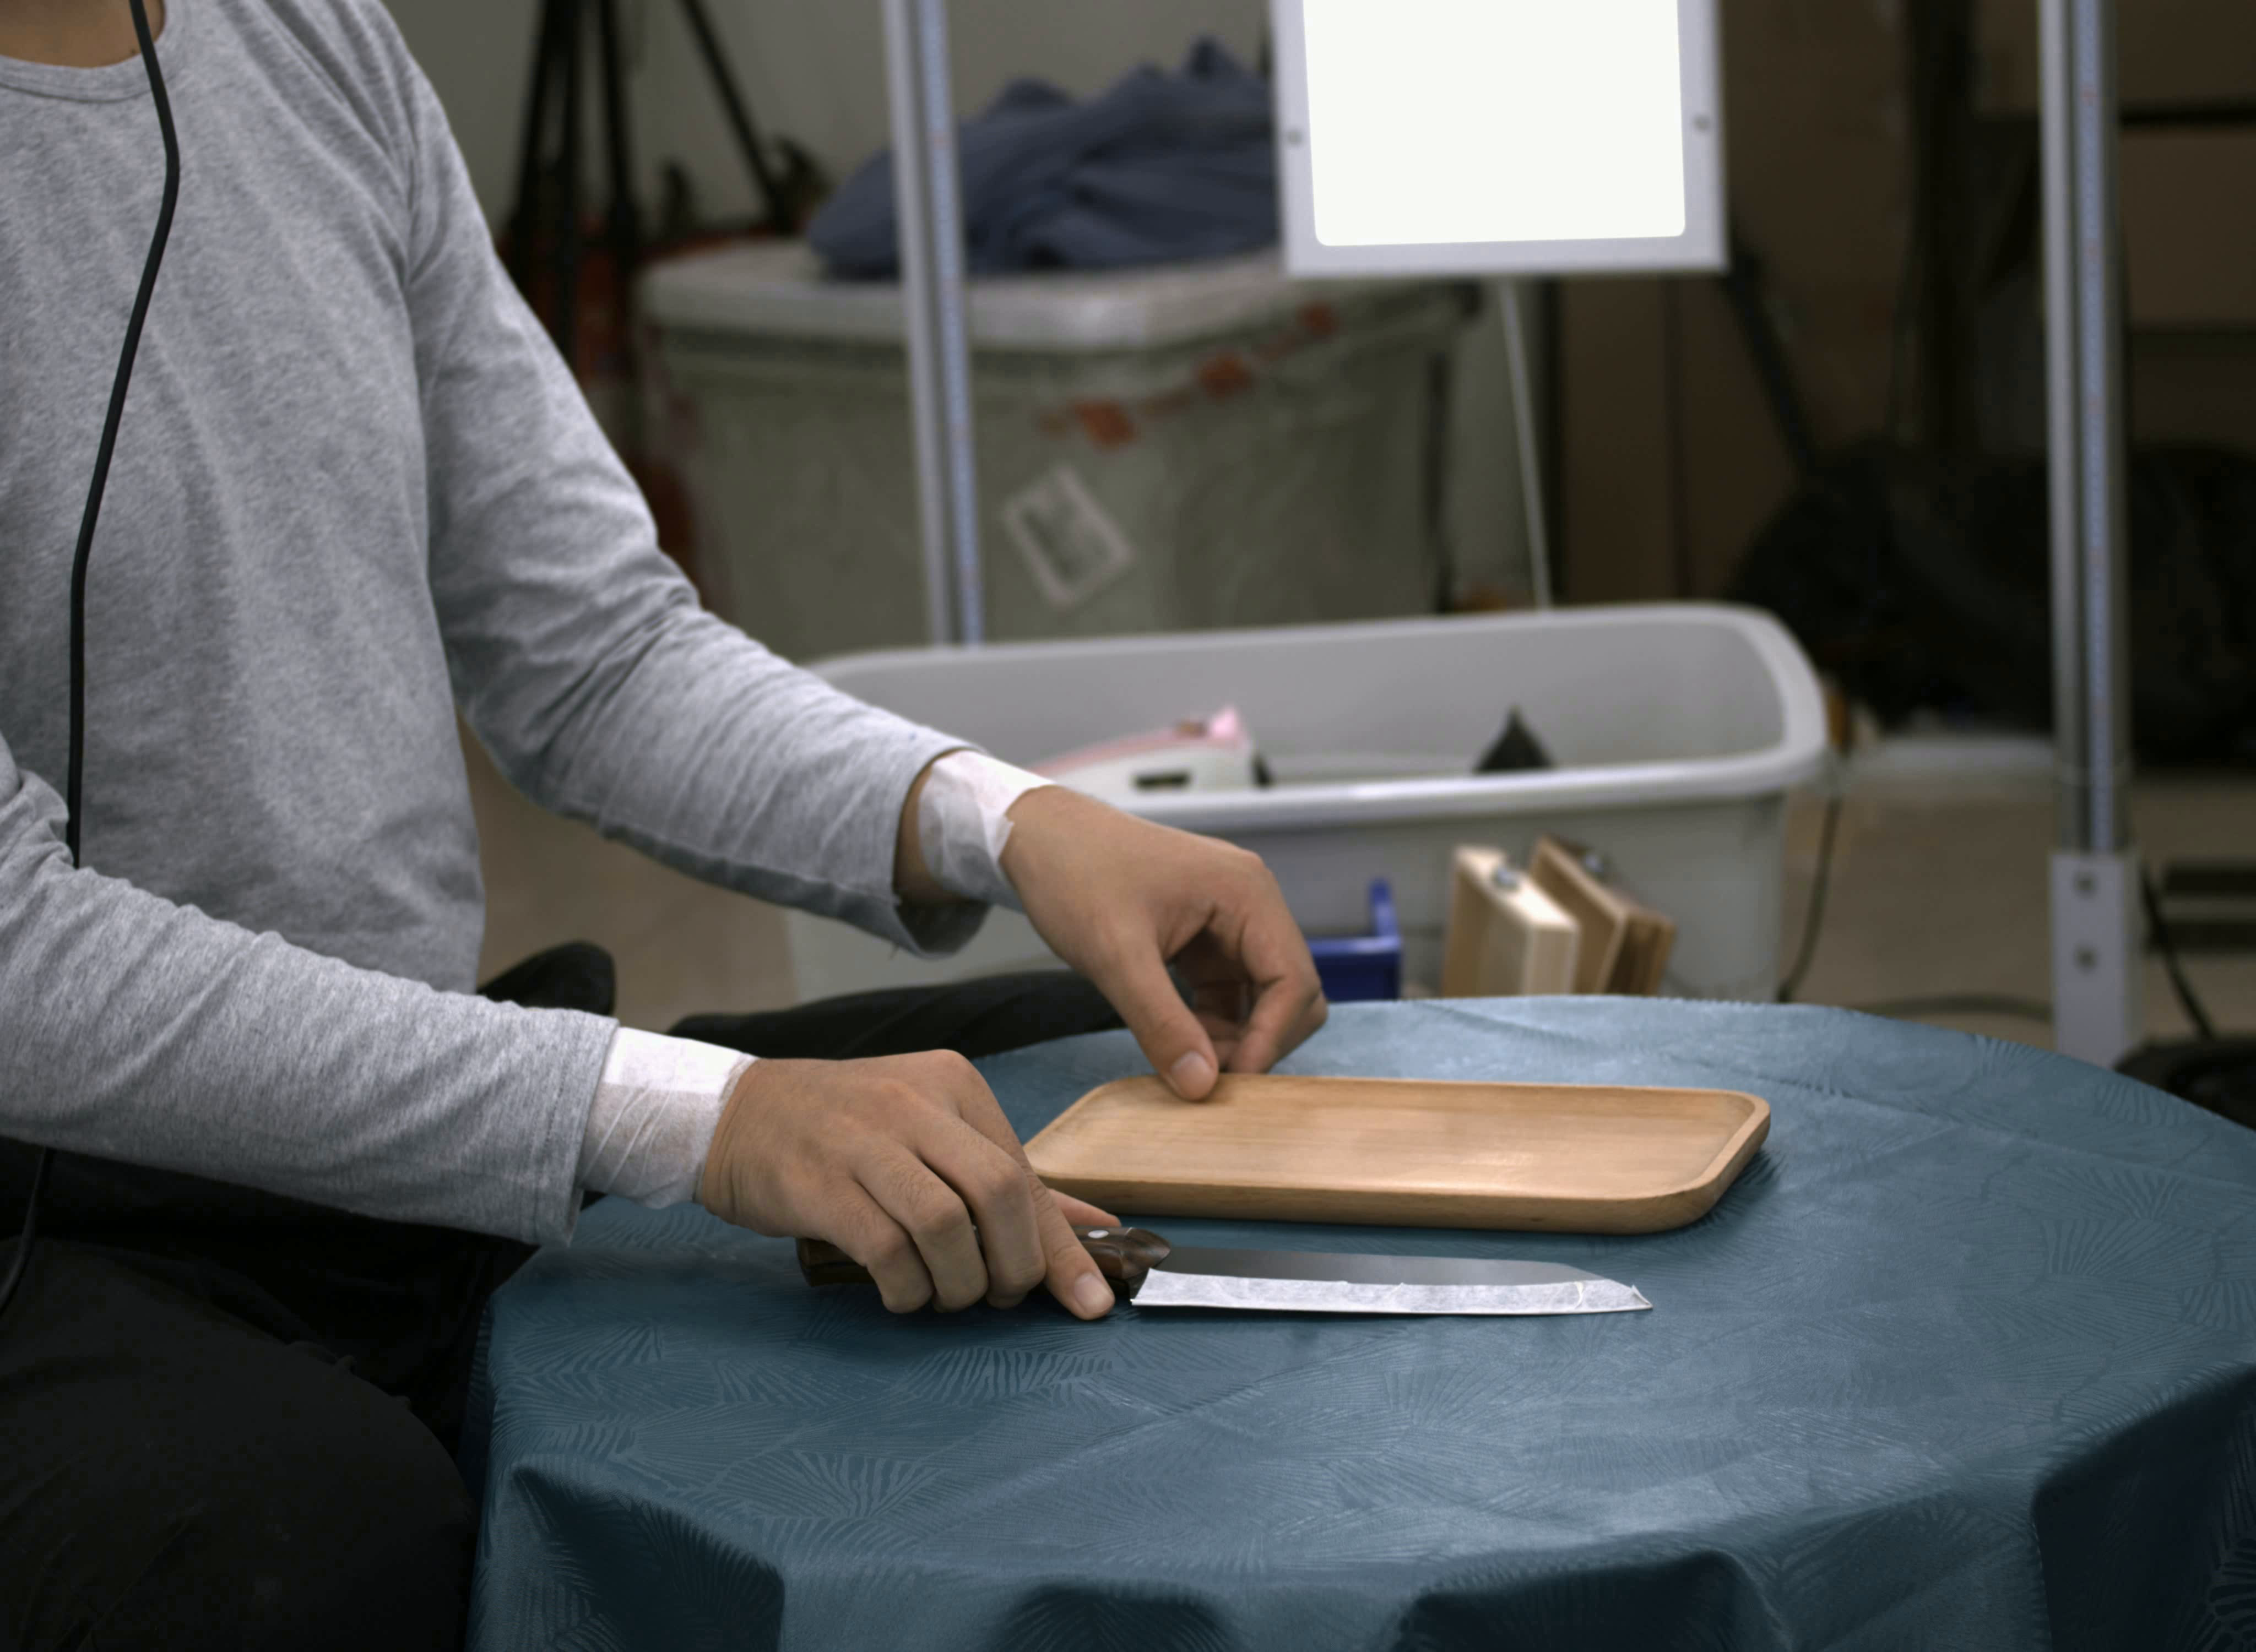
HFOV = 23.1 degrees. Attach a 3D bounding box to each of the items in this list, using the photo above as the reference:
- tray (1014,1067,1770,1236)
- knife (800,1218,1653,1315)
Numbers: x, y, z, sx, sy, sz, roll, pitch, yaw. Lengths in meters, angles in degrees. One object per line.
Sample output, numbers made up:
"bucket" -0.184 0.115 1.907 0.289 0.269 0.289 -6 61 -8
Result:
"tray" 0.091 0.112 1.898 0.254 0.023 0.128 0 12 24
"knife" 0.029 0.146 1.784 0.292 0.020 0.049 2 22 18
